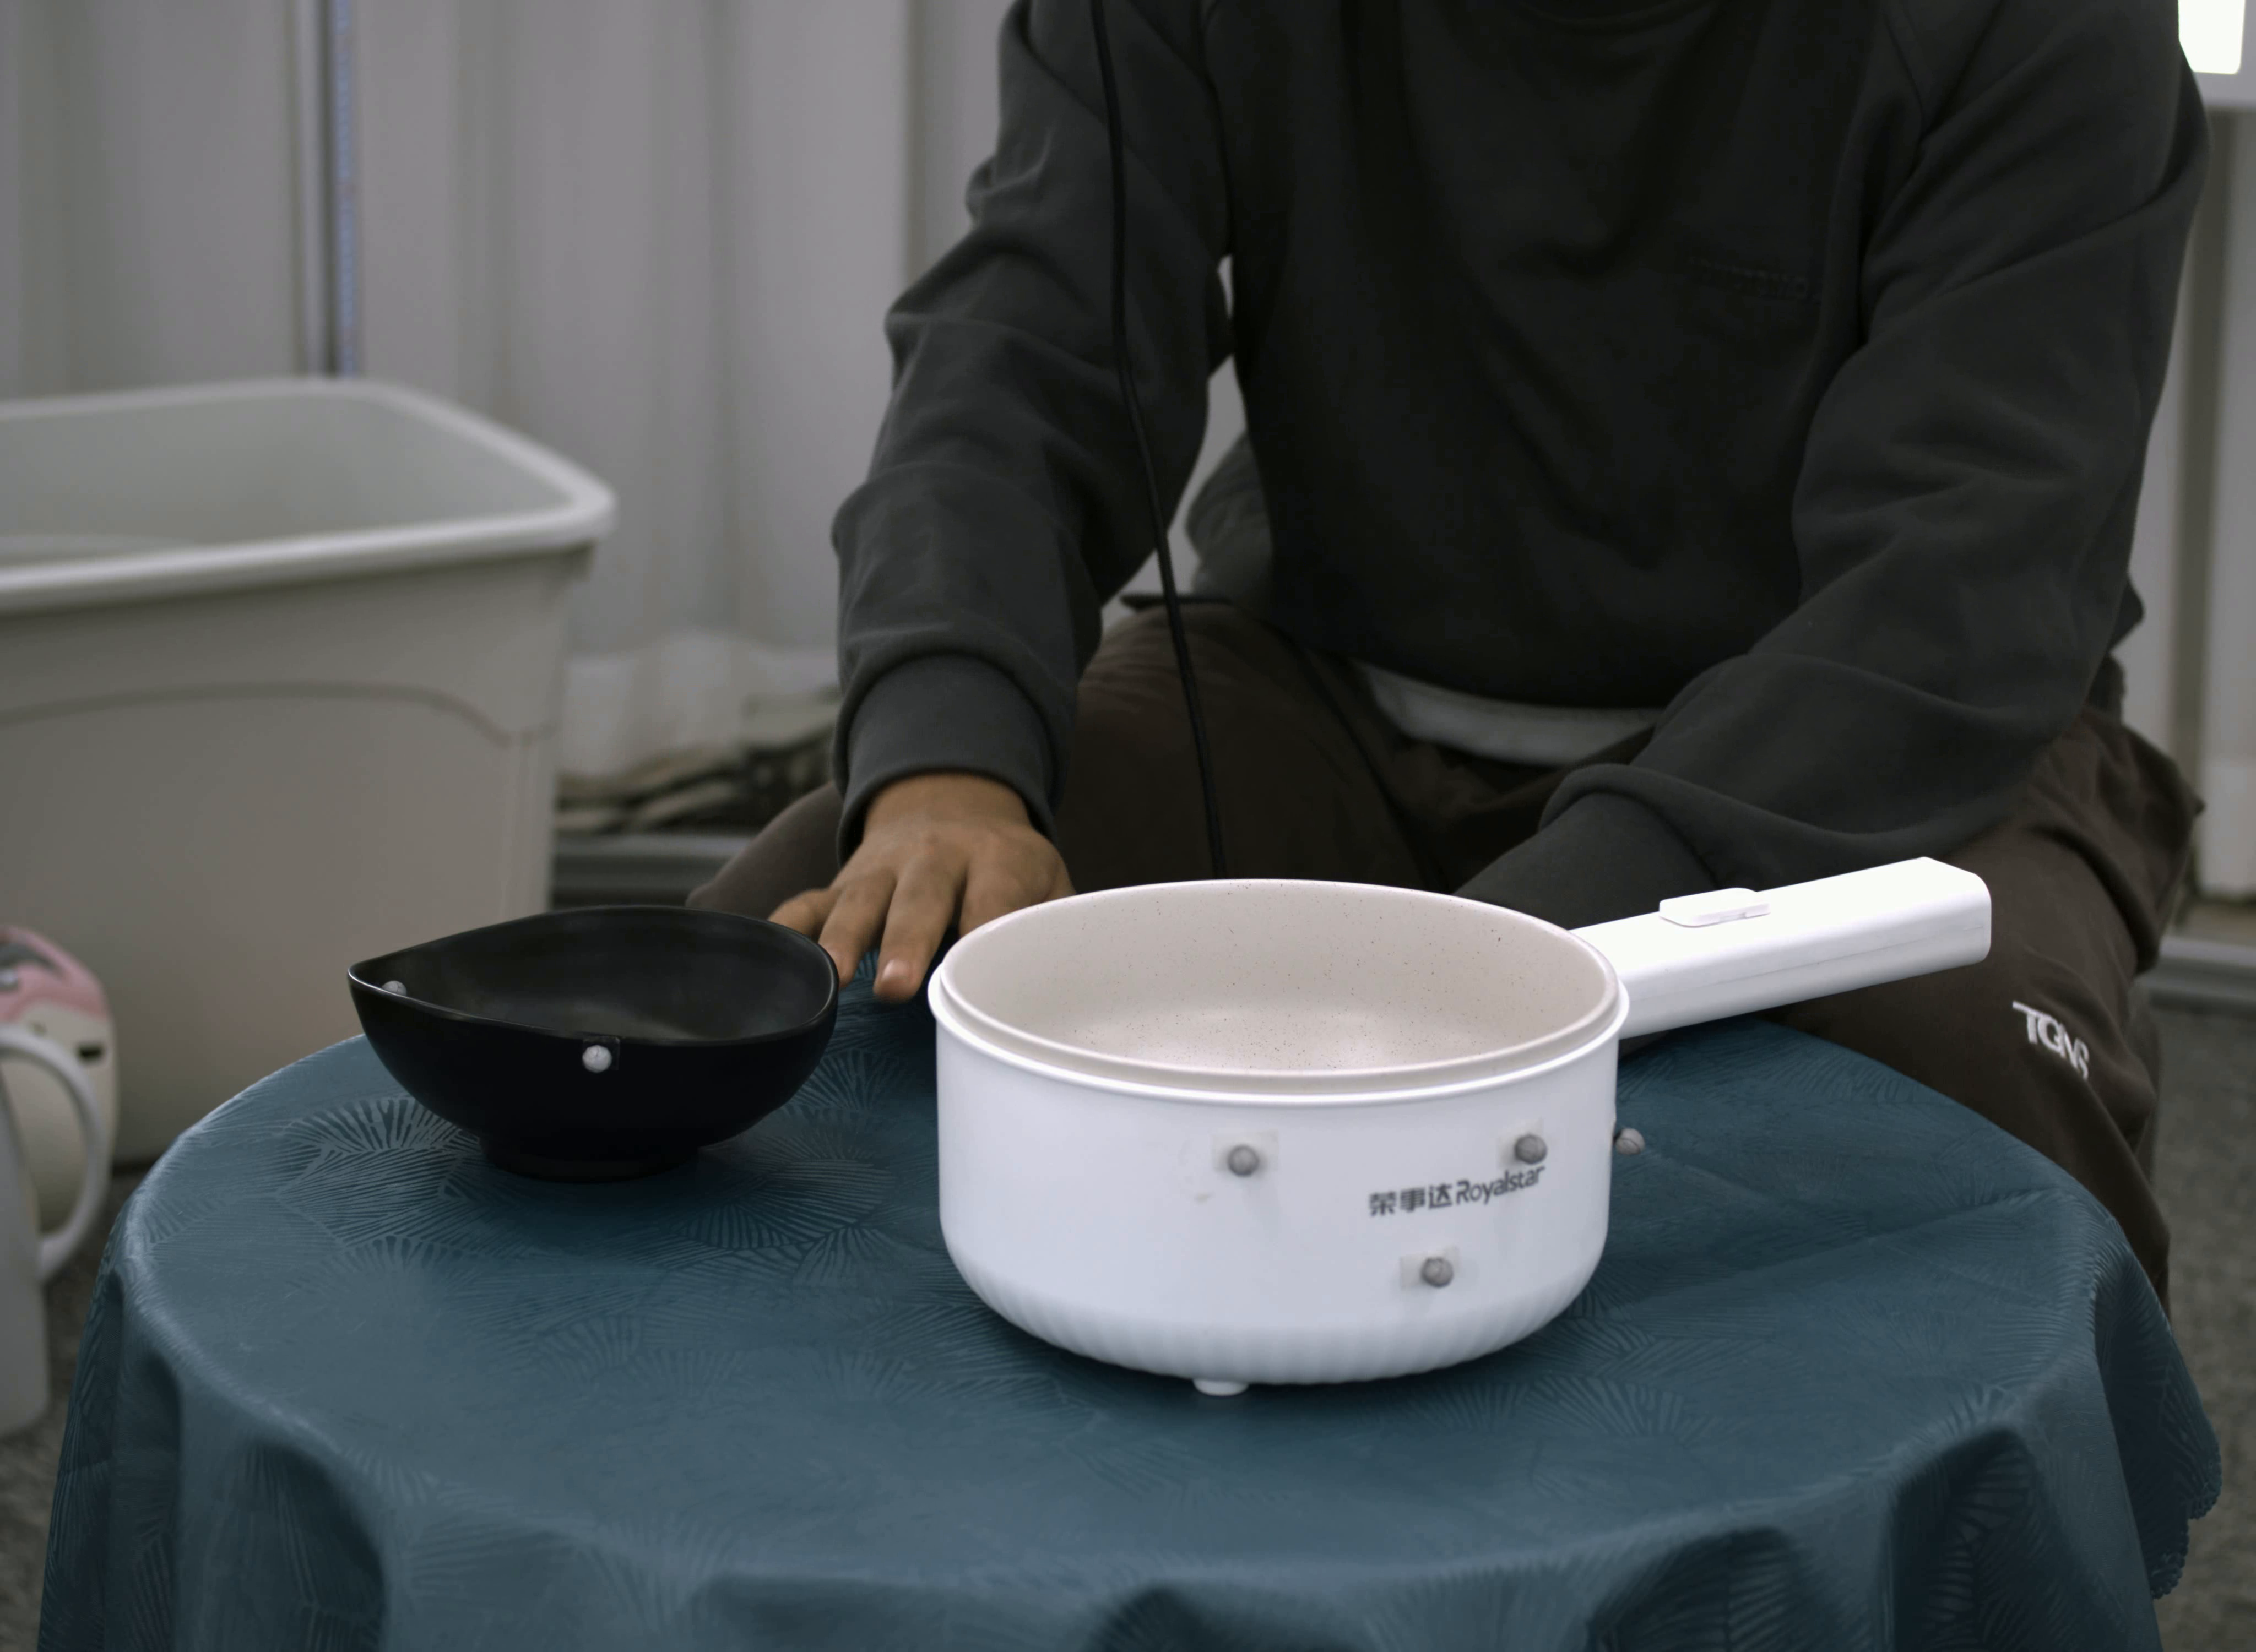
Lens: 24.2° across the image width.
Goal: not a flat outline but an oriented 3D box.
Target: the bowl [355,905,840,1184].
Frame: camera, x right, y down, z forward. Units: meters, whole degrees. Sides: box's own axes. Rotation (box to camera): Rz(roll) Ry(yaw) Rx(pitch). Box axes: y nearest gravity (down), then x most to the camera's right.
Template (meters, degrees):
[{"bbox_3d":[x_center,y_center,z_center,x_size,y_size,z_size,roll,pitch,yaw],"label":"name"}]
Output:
[{"bbox_3d":[-0.167,0.072,1.644,0.168,0.067,0.138,11,18,37],"label":"bowl"}]

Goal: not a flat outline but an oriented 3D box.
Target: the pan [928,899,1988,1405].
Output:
[{"bbox_3d":[0.107,0.088,1.563,0.356,0.103,0.199,-7,13,-33],"label":"pan"}]
